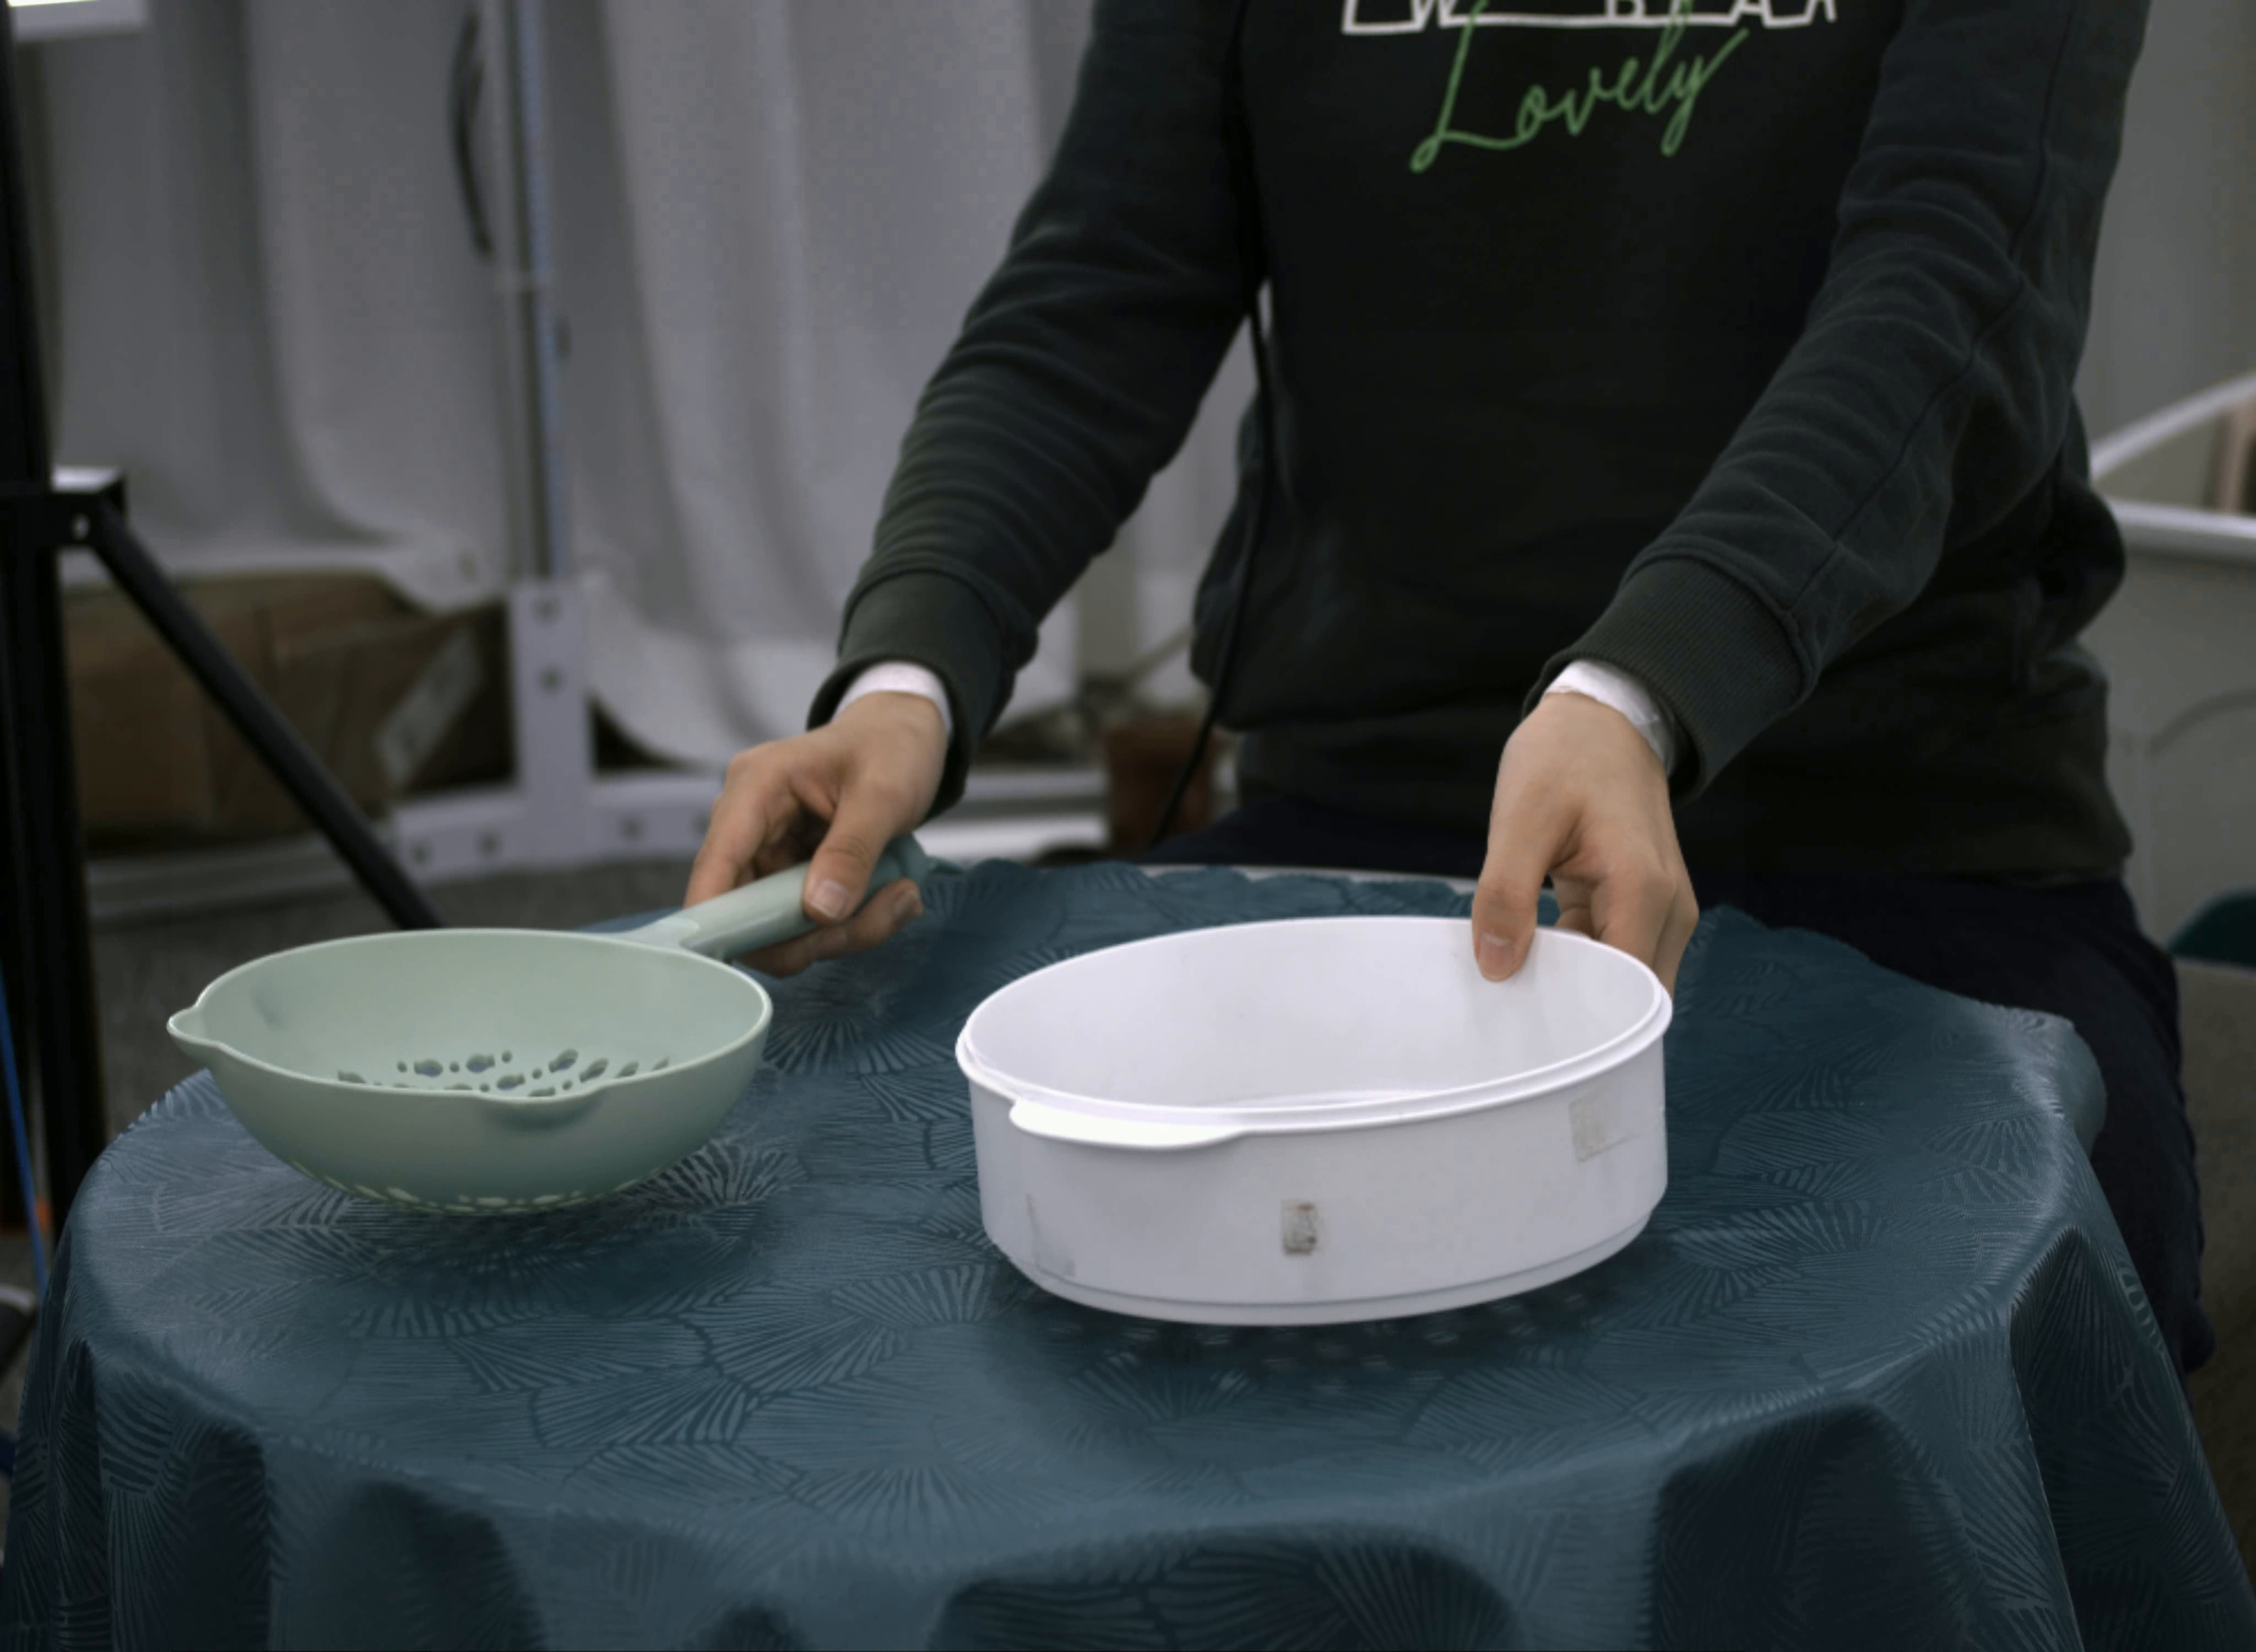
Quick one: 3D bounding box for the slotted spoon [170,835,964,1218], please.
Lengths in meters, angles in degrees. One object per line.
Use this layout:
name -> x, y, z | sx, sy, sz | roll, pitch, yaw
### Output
slotted spoon -> -0.144, 0.046, 1.651 | 0.172, 0.075, 0.353 | 9, 24, 27

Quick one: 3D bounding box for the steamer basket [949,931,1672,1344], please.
steamer basket -> 0.052, 0.087, 1.482 | 0.206, 0.069, 0.226 | 6, 16, 33
